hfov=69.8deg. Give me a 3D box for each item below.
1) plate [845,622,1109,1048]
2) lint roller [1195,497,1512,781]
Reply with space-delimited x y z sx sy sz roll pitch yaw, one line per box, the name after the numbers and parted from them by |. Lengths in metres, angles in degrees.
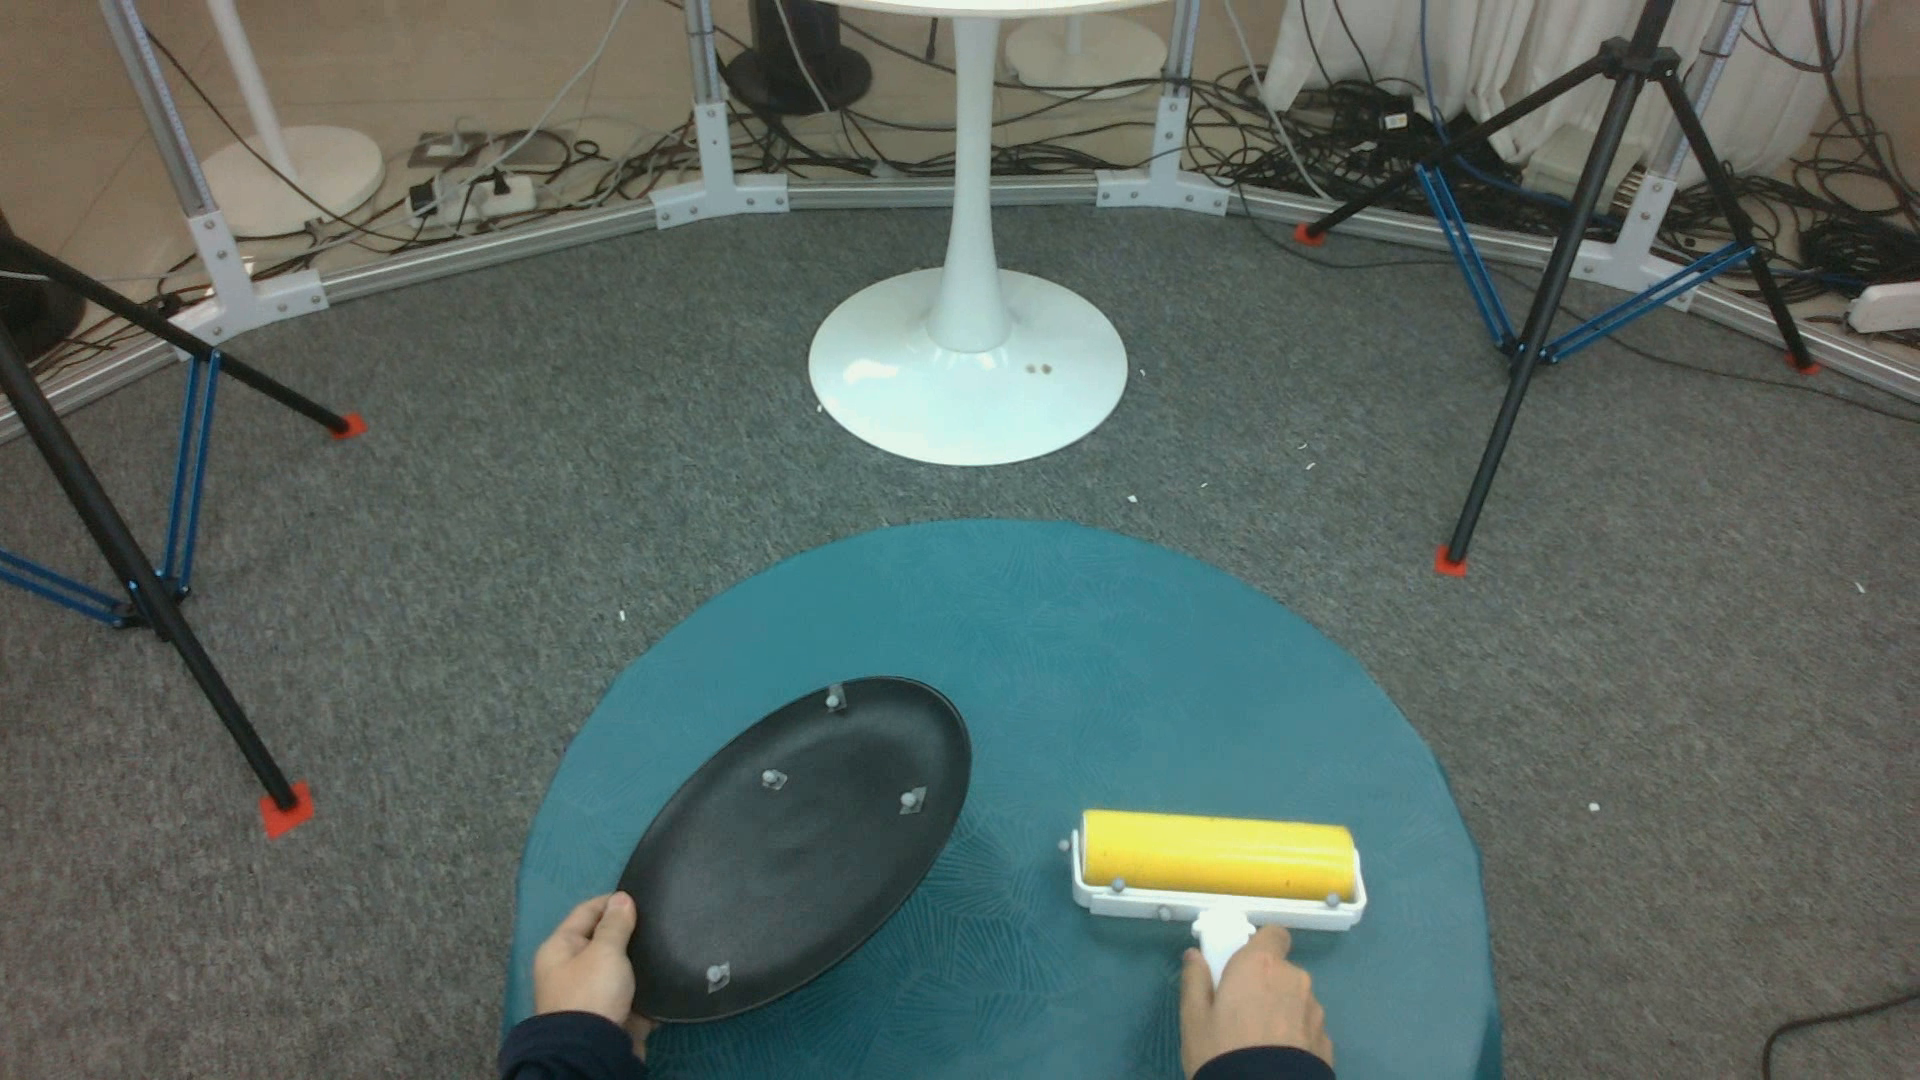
0.009 0.166 0.796 0.243 0.023 0.245 -35 43 41 | plate
0.247 0.066 0.791 0.174 0.051 0.192 -32 30 -1 | lint roller
